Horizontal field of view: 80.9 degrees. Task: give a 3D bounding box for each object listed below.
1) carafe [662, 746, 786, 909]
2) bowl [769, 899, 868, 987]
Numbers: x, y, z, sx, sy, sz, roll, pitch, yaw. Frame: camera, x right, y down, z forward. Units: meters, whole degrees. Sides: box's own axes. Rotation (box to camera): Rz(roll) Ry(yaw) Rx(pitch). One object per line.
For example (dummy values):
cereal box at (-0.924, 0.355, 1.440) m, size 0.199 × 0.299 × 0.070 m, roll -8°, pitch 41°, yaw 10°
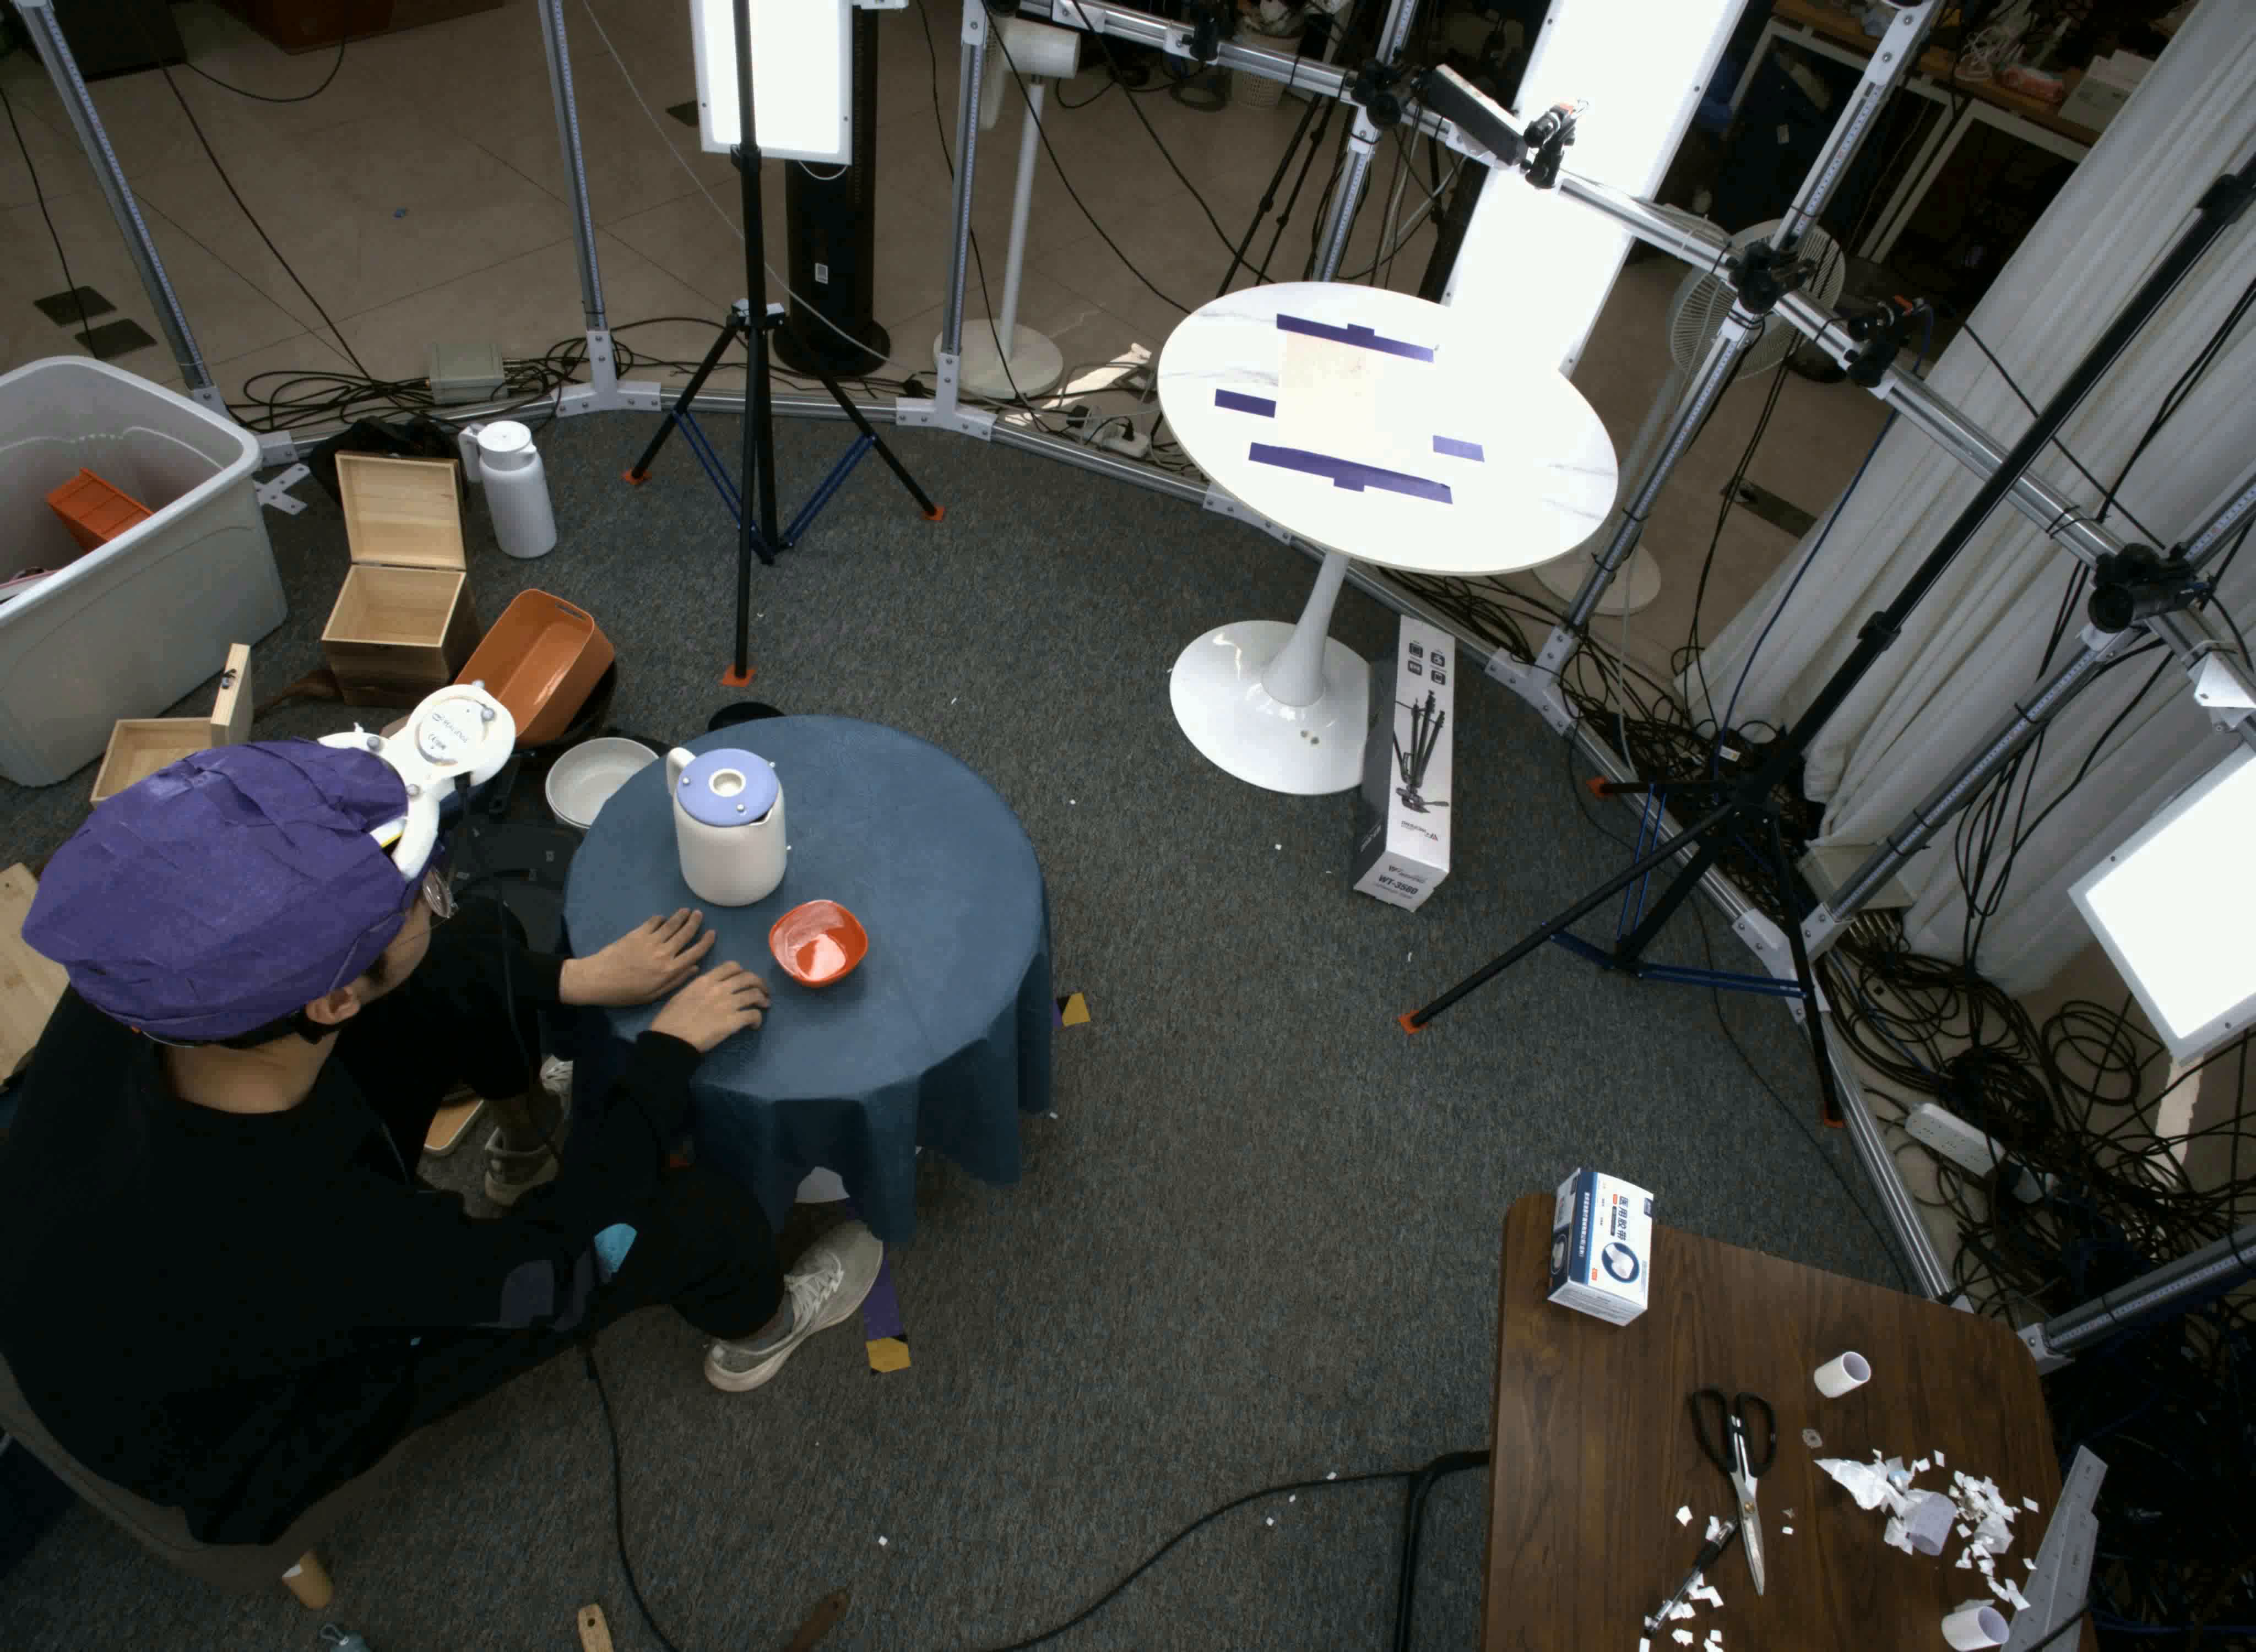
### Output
carafe at (-0.512, -0.012, 1.606) m, size 0.187 × 0.187 × 0.132 m, roll 35°, pitch 52°, yaw 17°
bowl at (-0.381, 0.151, 1.595) m, size 0.119 × 0.052 × 0.117 m, roll 10°, pitch 52°, yaw -11°
